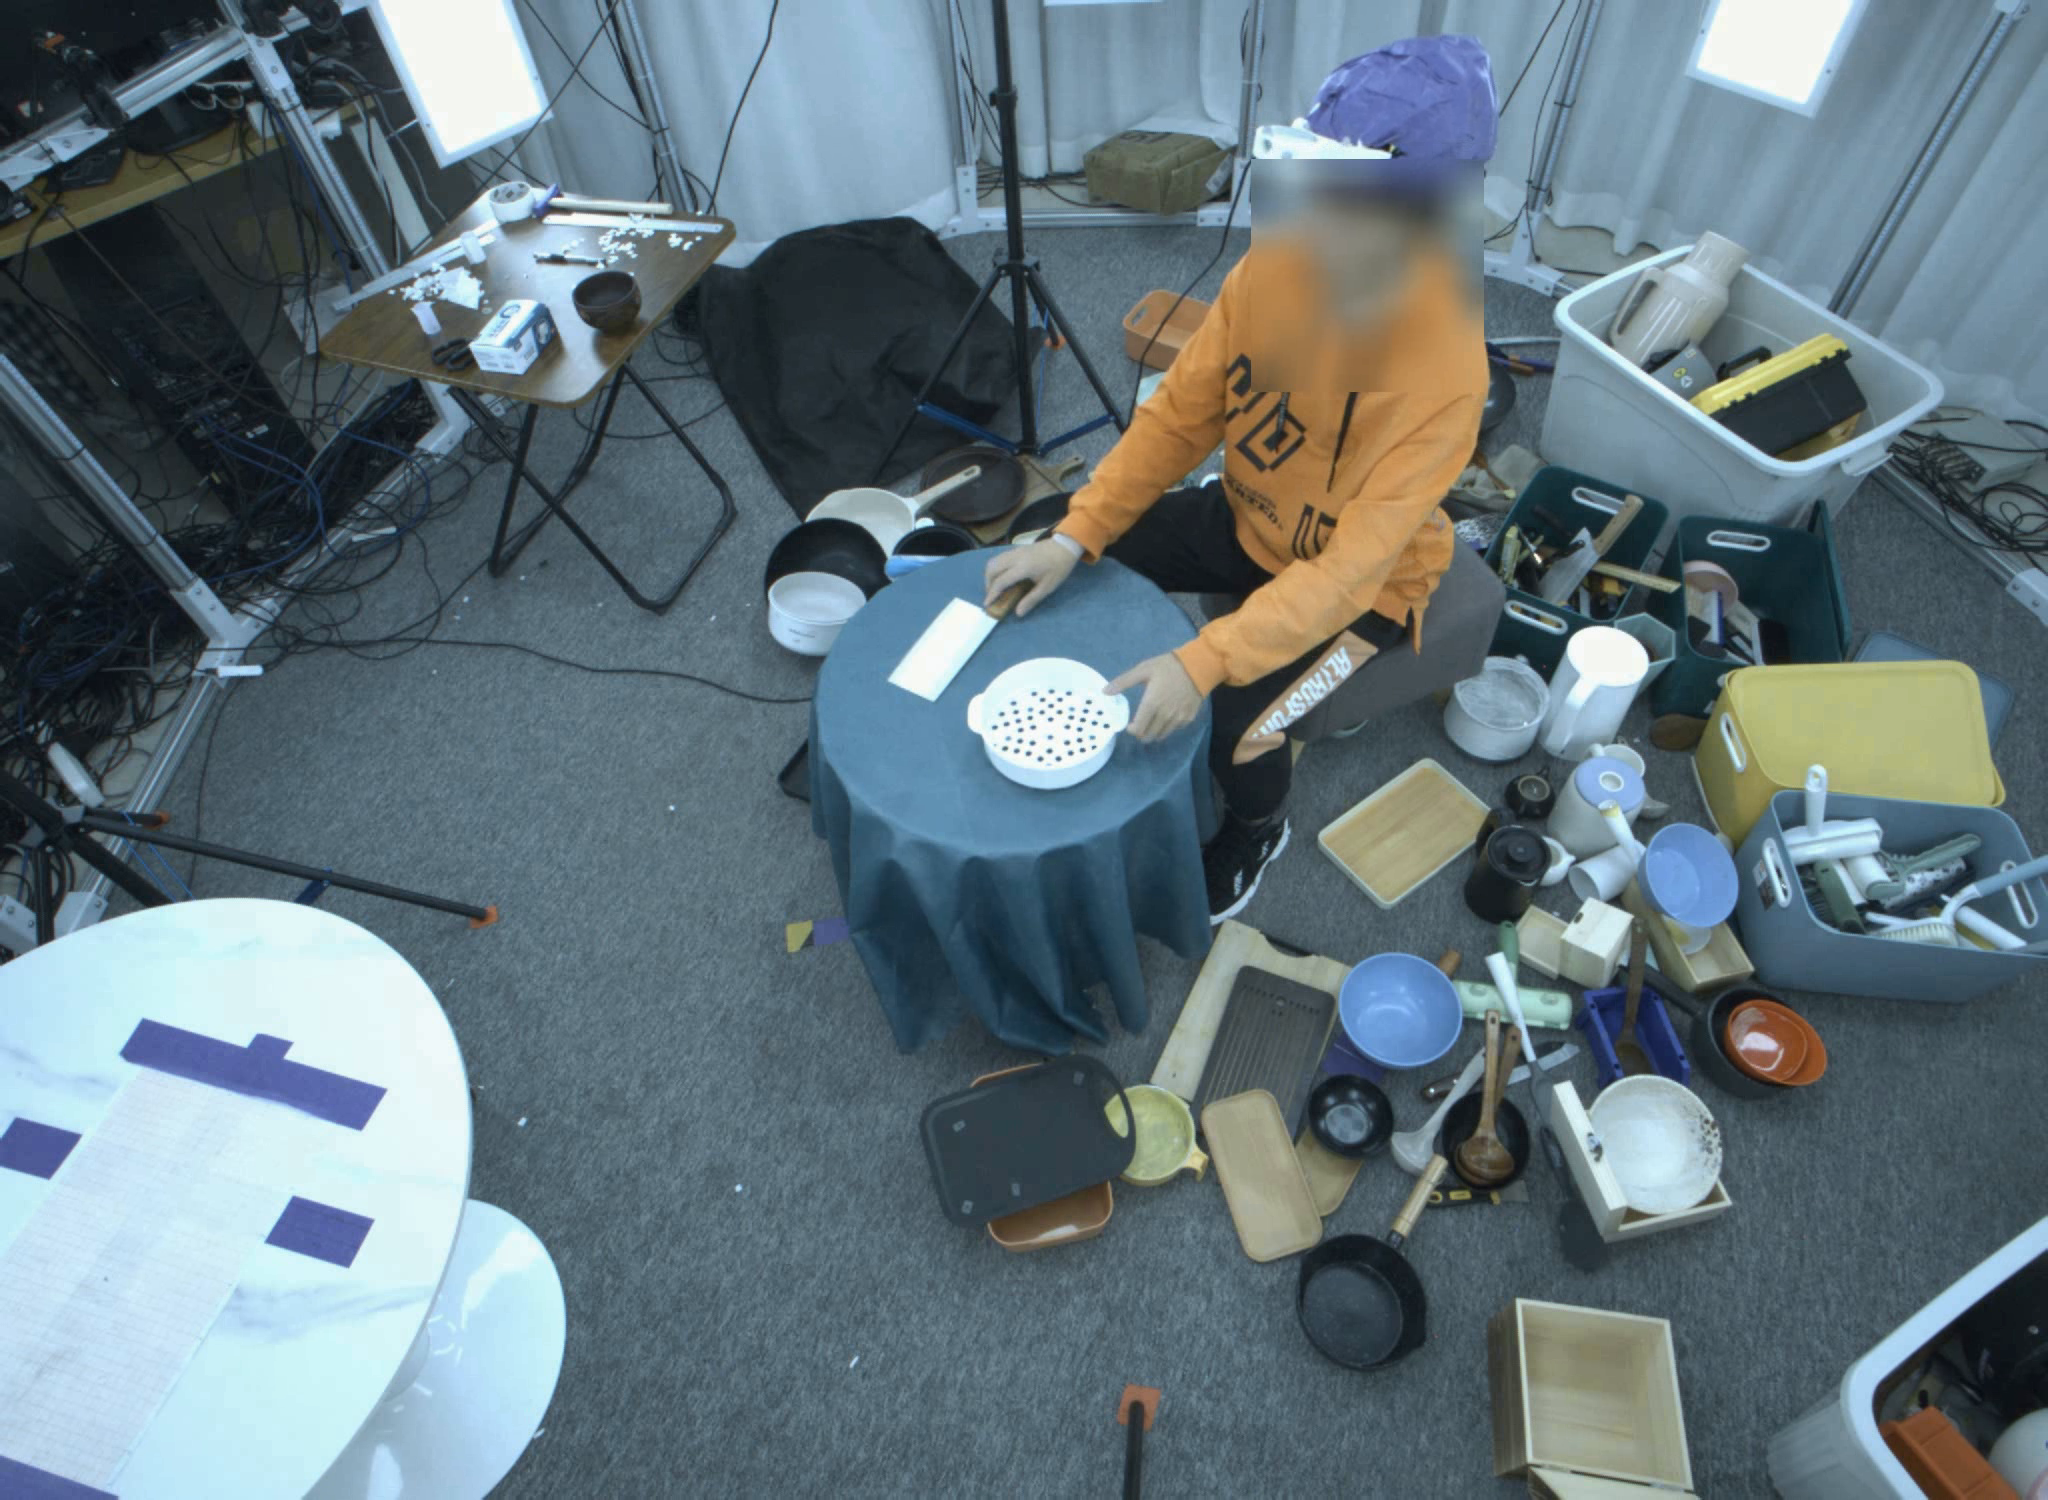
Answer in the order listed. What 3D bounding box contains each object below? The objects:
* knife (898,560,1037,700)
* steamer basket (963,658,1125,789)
[{"bbox_3d":[-0.091,-0.200,1.922,0.091,0.021,0.306,25,62,21],"label":"knife"},{"bbox_3d":[0.031,-0.036,1.769,0.230,0.070,0.200,-1,54,4],"label":"steamer basket"}]
